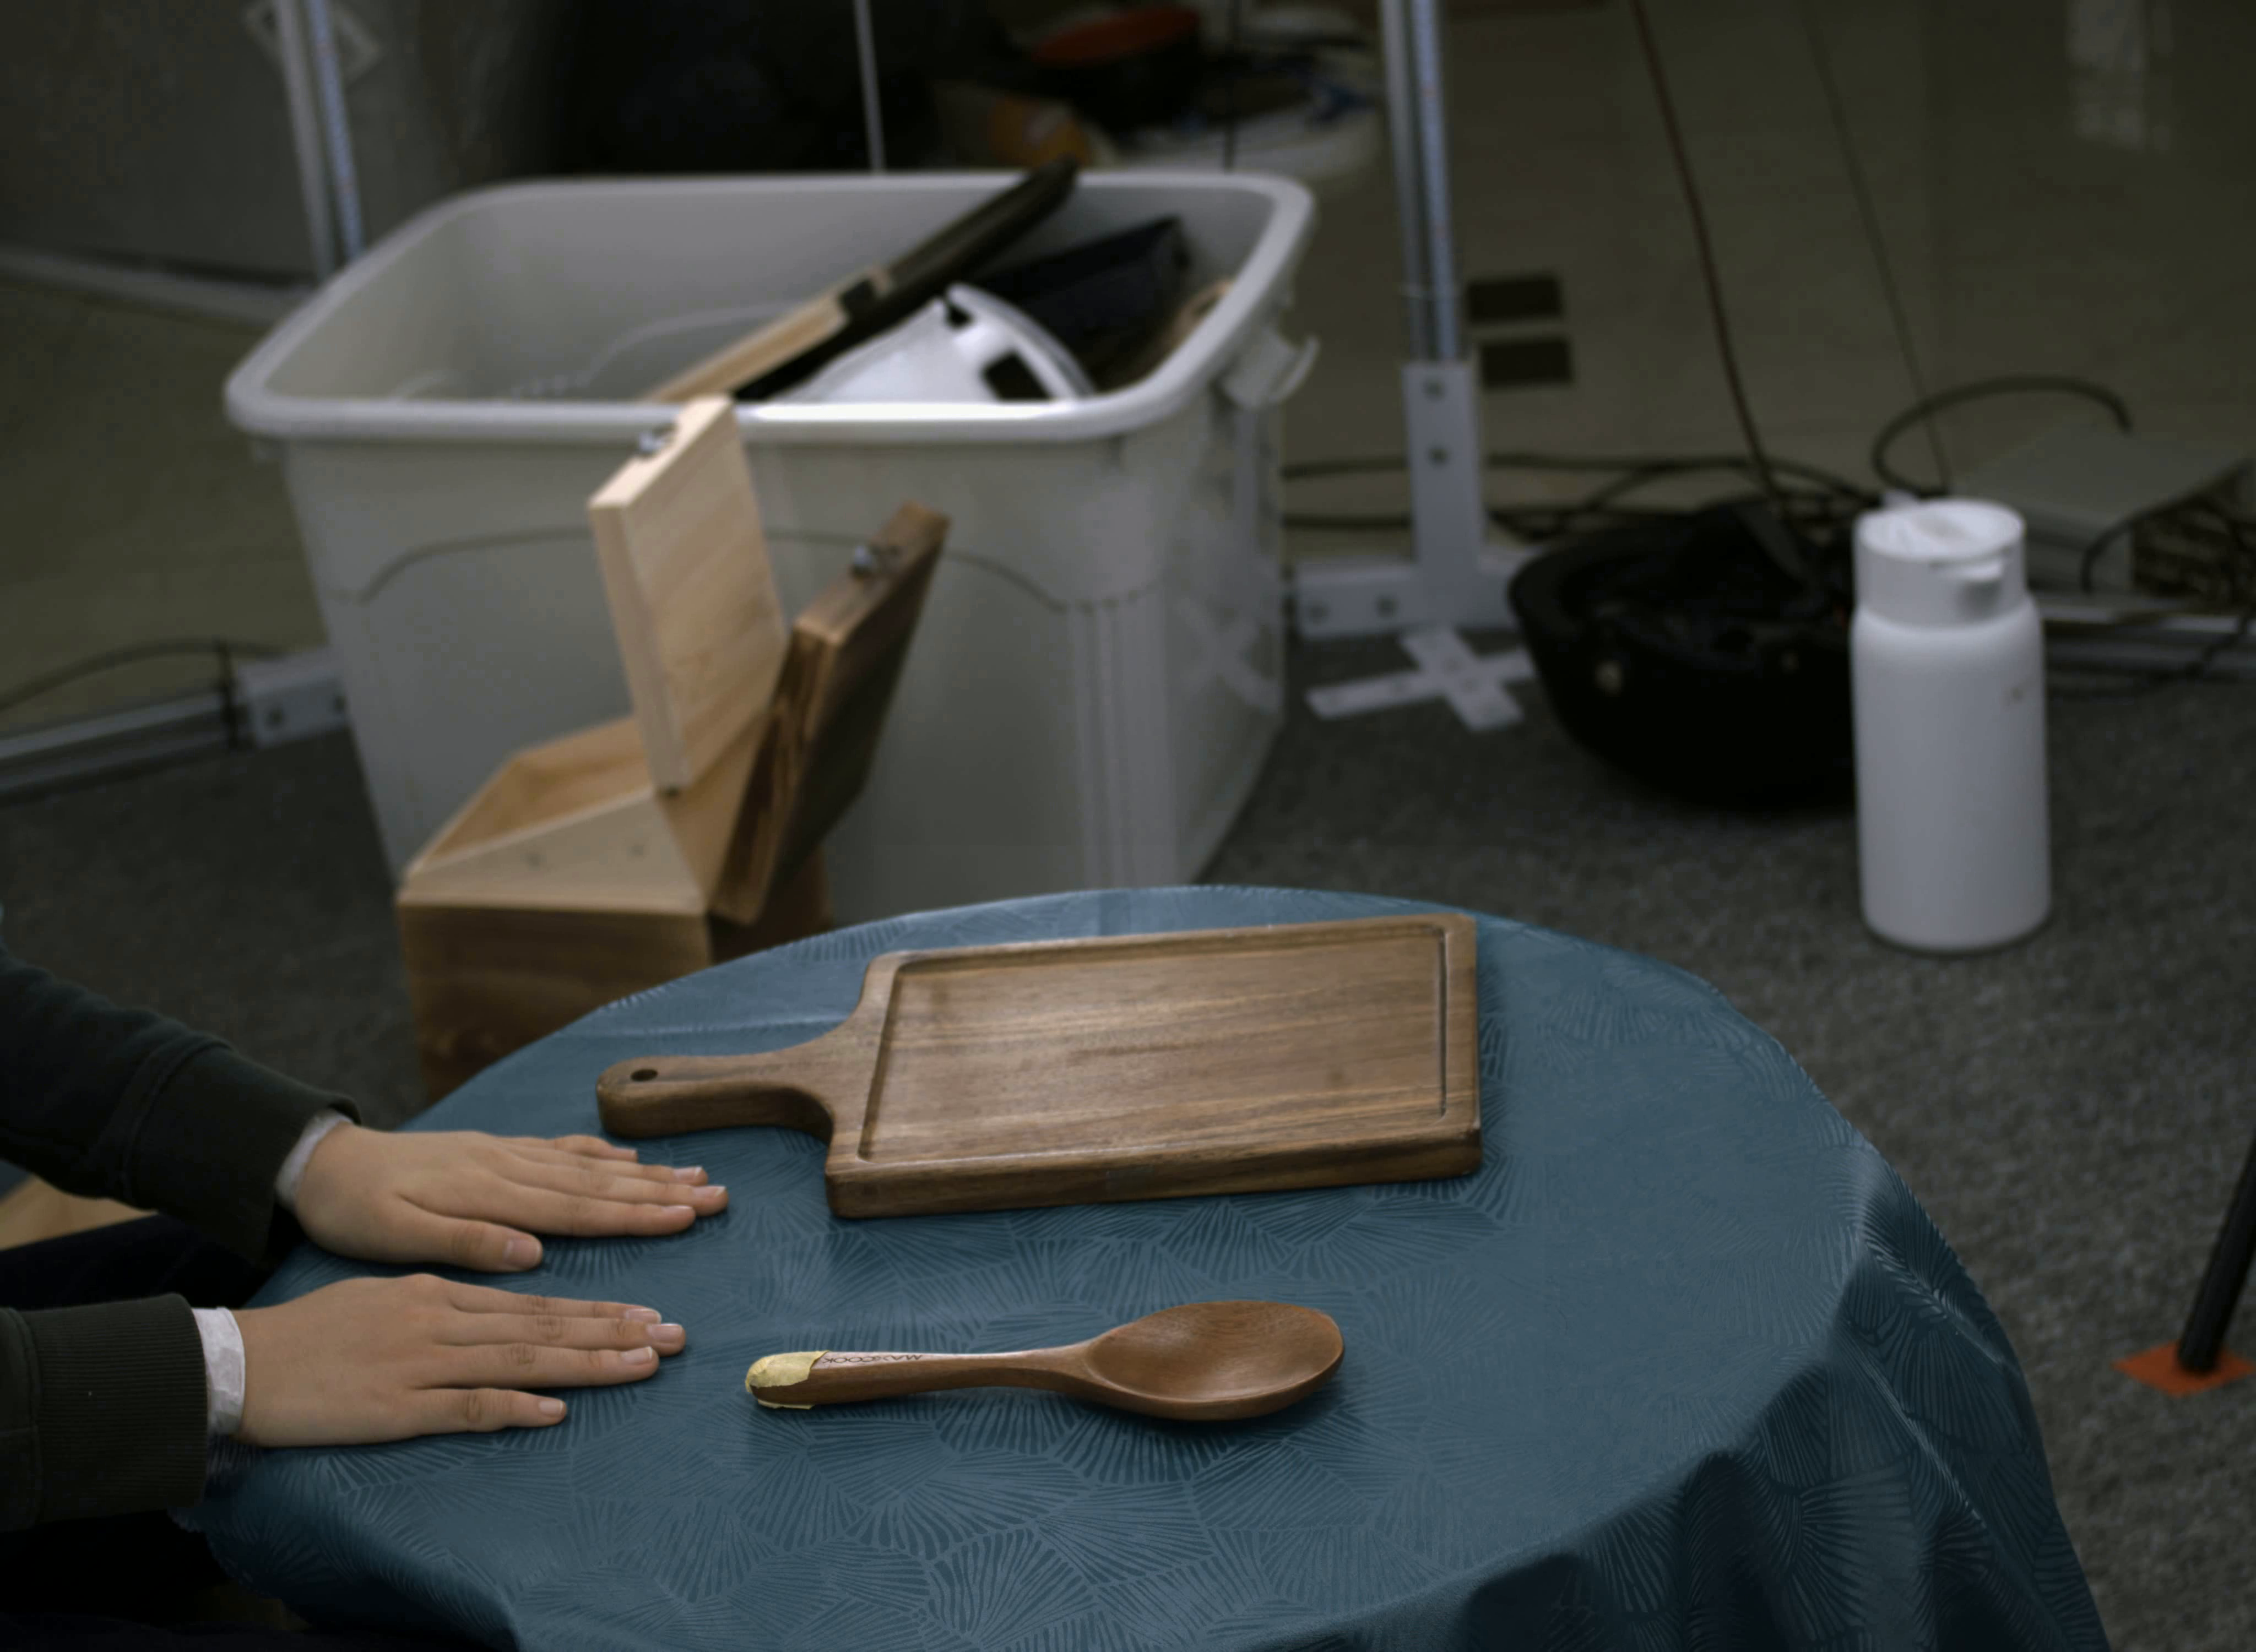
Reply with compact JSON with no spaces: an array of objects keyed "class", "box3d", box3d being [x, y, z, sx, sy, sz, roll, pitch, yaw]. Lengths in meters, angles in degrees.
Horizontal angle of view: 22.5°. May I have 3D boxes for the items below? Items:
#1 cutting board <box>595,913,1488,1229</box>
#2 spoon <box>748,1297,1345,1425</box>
[{"class":"cutting board","box3d":[-0.035,0.098,2.230,0.351,0.023,0.198,-4,26,5]},{"class":"spoon","box3d":[-0.030,0.194,2.022,0.215,0.017,0.074,-2,27,9]}]
